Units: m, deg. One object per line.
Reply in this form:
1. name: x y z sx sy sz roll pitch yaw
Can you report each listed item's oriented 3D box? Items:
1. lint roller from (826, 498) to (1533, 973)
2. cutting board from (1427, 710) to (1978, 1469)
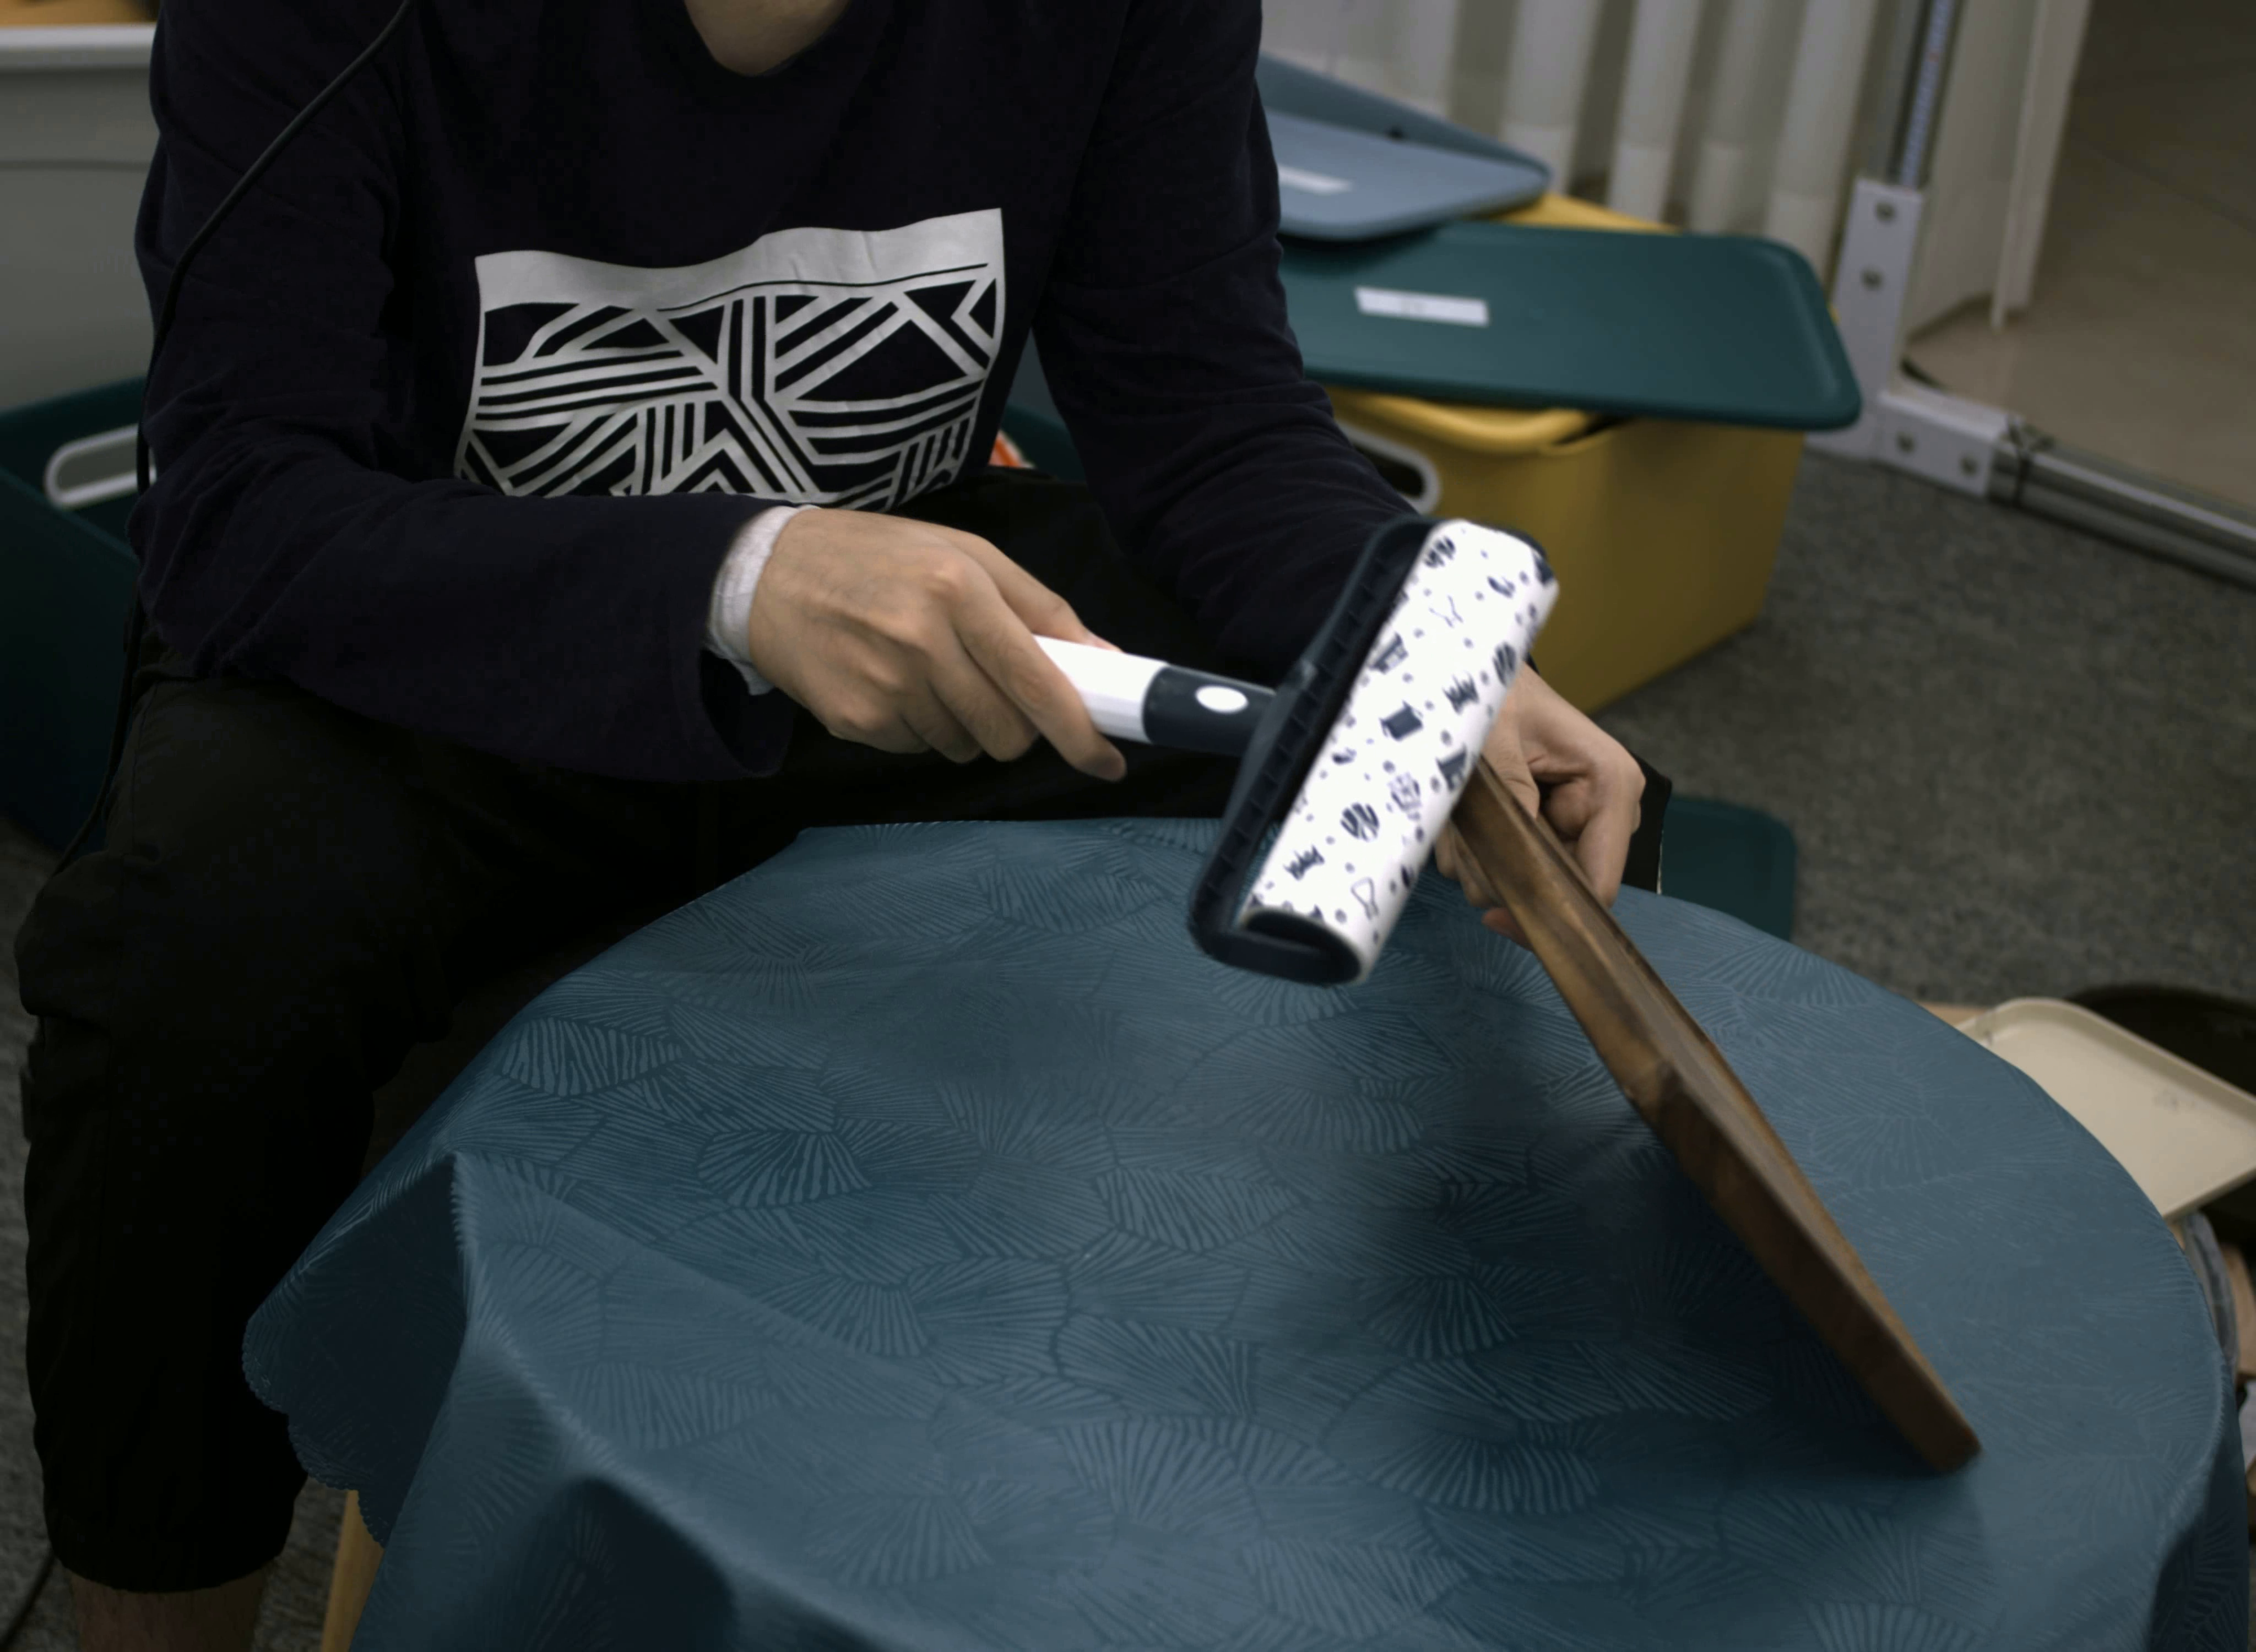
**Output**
1. lint roller: -0.002 -0.046 1.805 0.248 0.050 0.177 10 60 29
2. cutting board: 0.171 0.060 1.797 0.023 0.199 0.355 -37 31 6
